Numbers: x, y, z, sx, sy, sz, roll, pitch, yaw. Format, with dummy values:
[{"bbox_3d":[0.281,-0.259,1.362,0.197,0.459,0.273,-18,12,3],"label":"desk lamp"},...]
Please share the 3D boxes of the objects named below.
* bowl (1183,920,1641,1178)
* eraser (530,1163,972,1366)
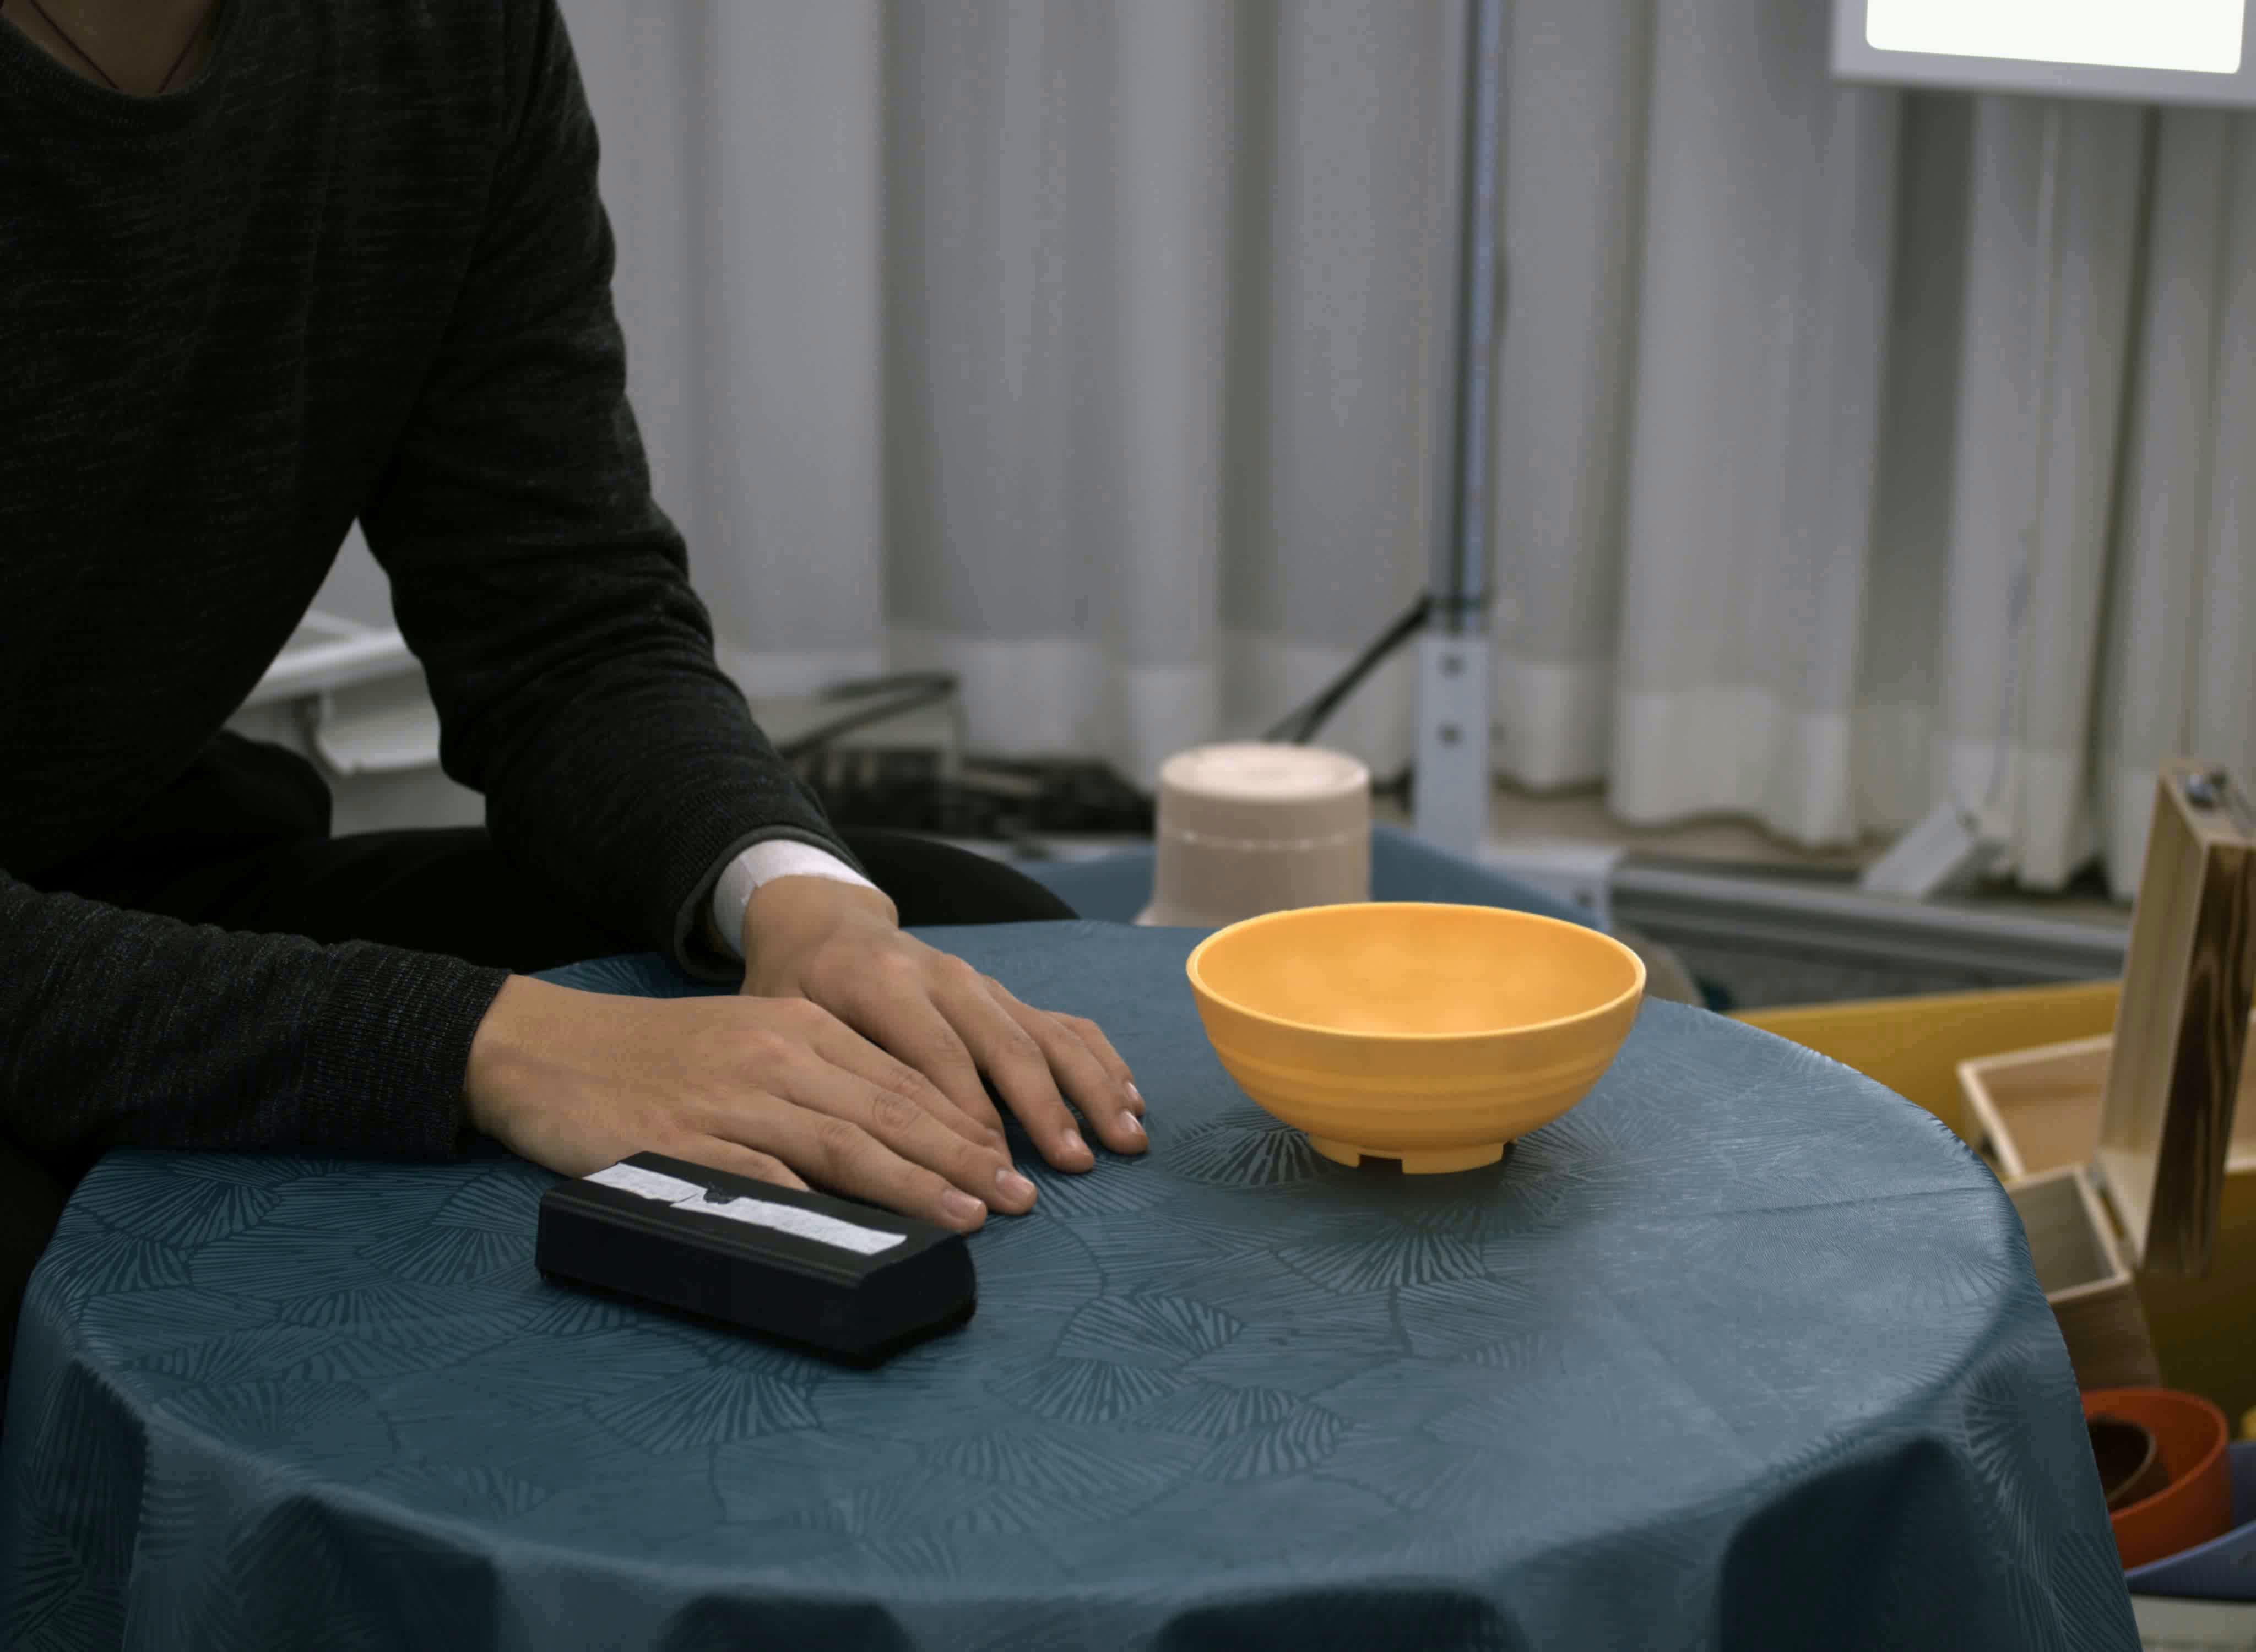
[{"bbox_3d":[0.089,0.074,1.658,0.145,0.060,0.144,0,13,1],"label":"bowl"},{"bbox_3d":[-0.109,0.125,1.517,0.124,0.030,0.054,11,15,33],"label":"eraser"}]
